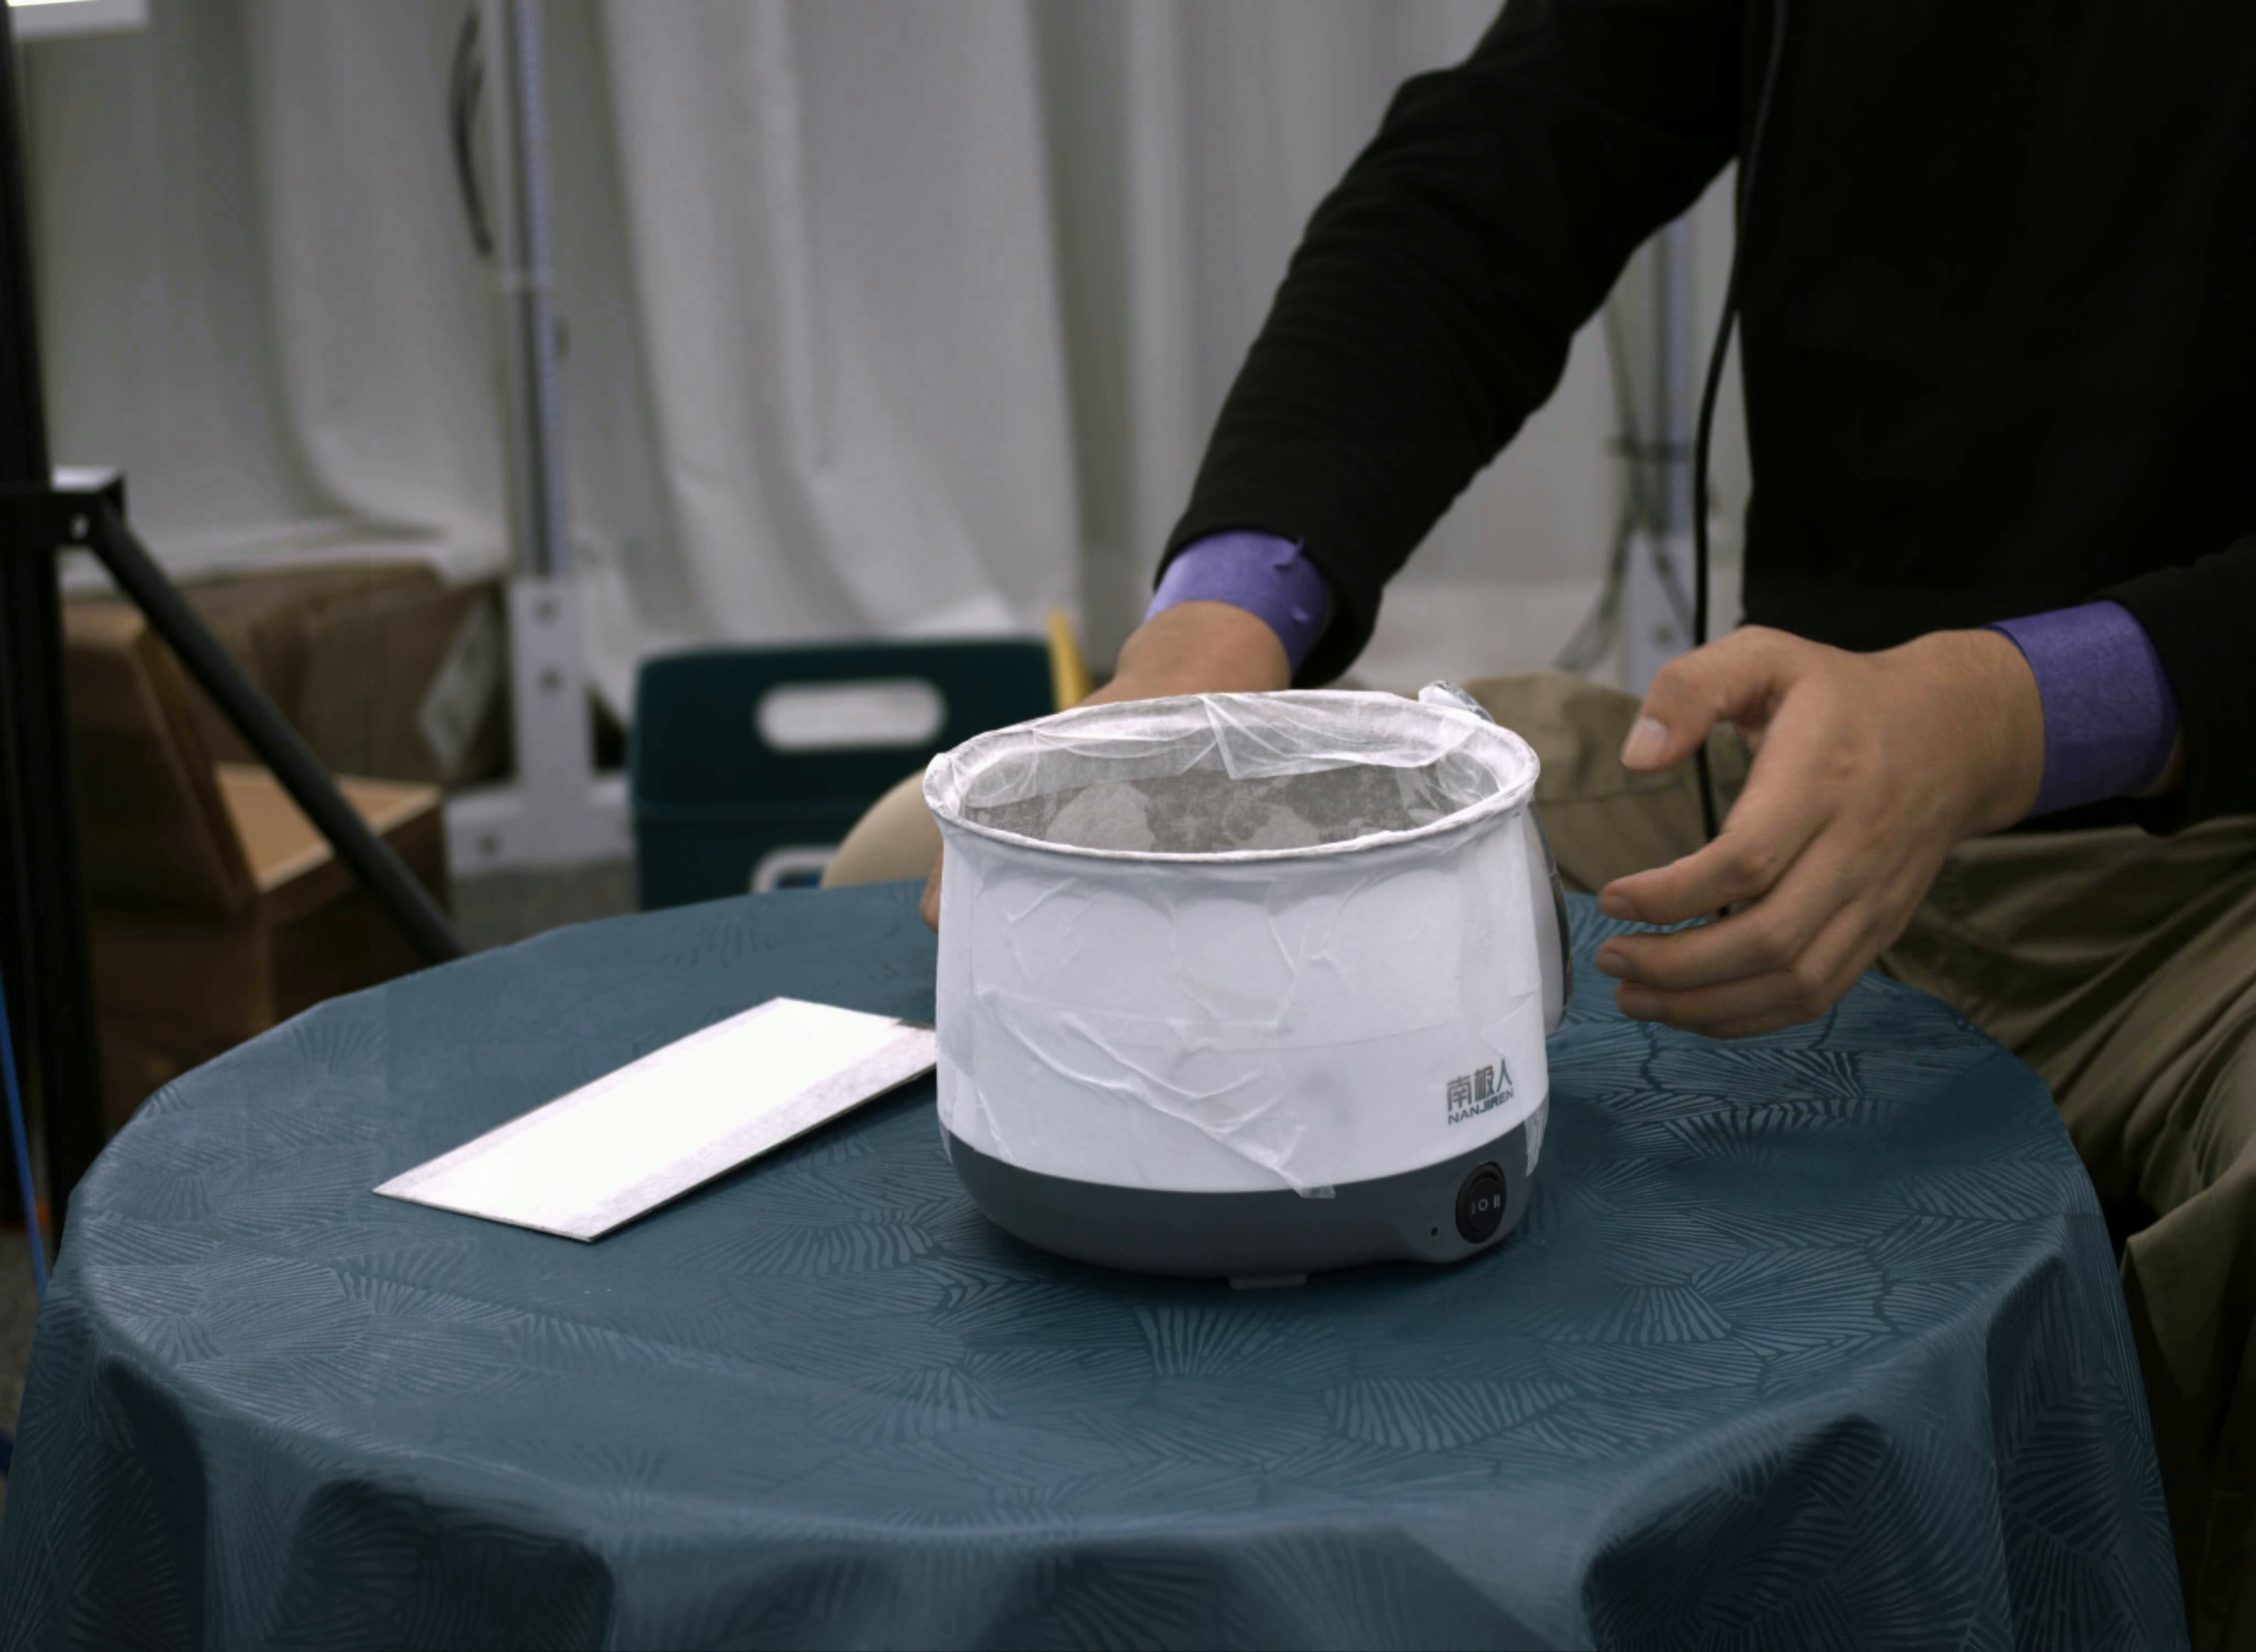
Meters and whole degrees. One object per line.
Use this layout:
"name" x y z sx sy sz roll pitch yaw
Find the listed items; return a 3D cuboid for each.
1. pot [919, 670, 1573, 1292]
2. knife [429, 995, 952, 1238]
"pot" 0.049 0.037 1.541 0.182 0.136 0.229 11 22 39
"knife" -0.098 0.073 1.671 0.095 0.021 0.299 10 22 36
